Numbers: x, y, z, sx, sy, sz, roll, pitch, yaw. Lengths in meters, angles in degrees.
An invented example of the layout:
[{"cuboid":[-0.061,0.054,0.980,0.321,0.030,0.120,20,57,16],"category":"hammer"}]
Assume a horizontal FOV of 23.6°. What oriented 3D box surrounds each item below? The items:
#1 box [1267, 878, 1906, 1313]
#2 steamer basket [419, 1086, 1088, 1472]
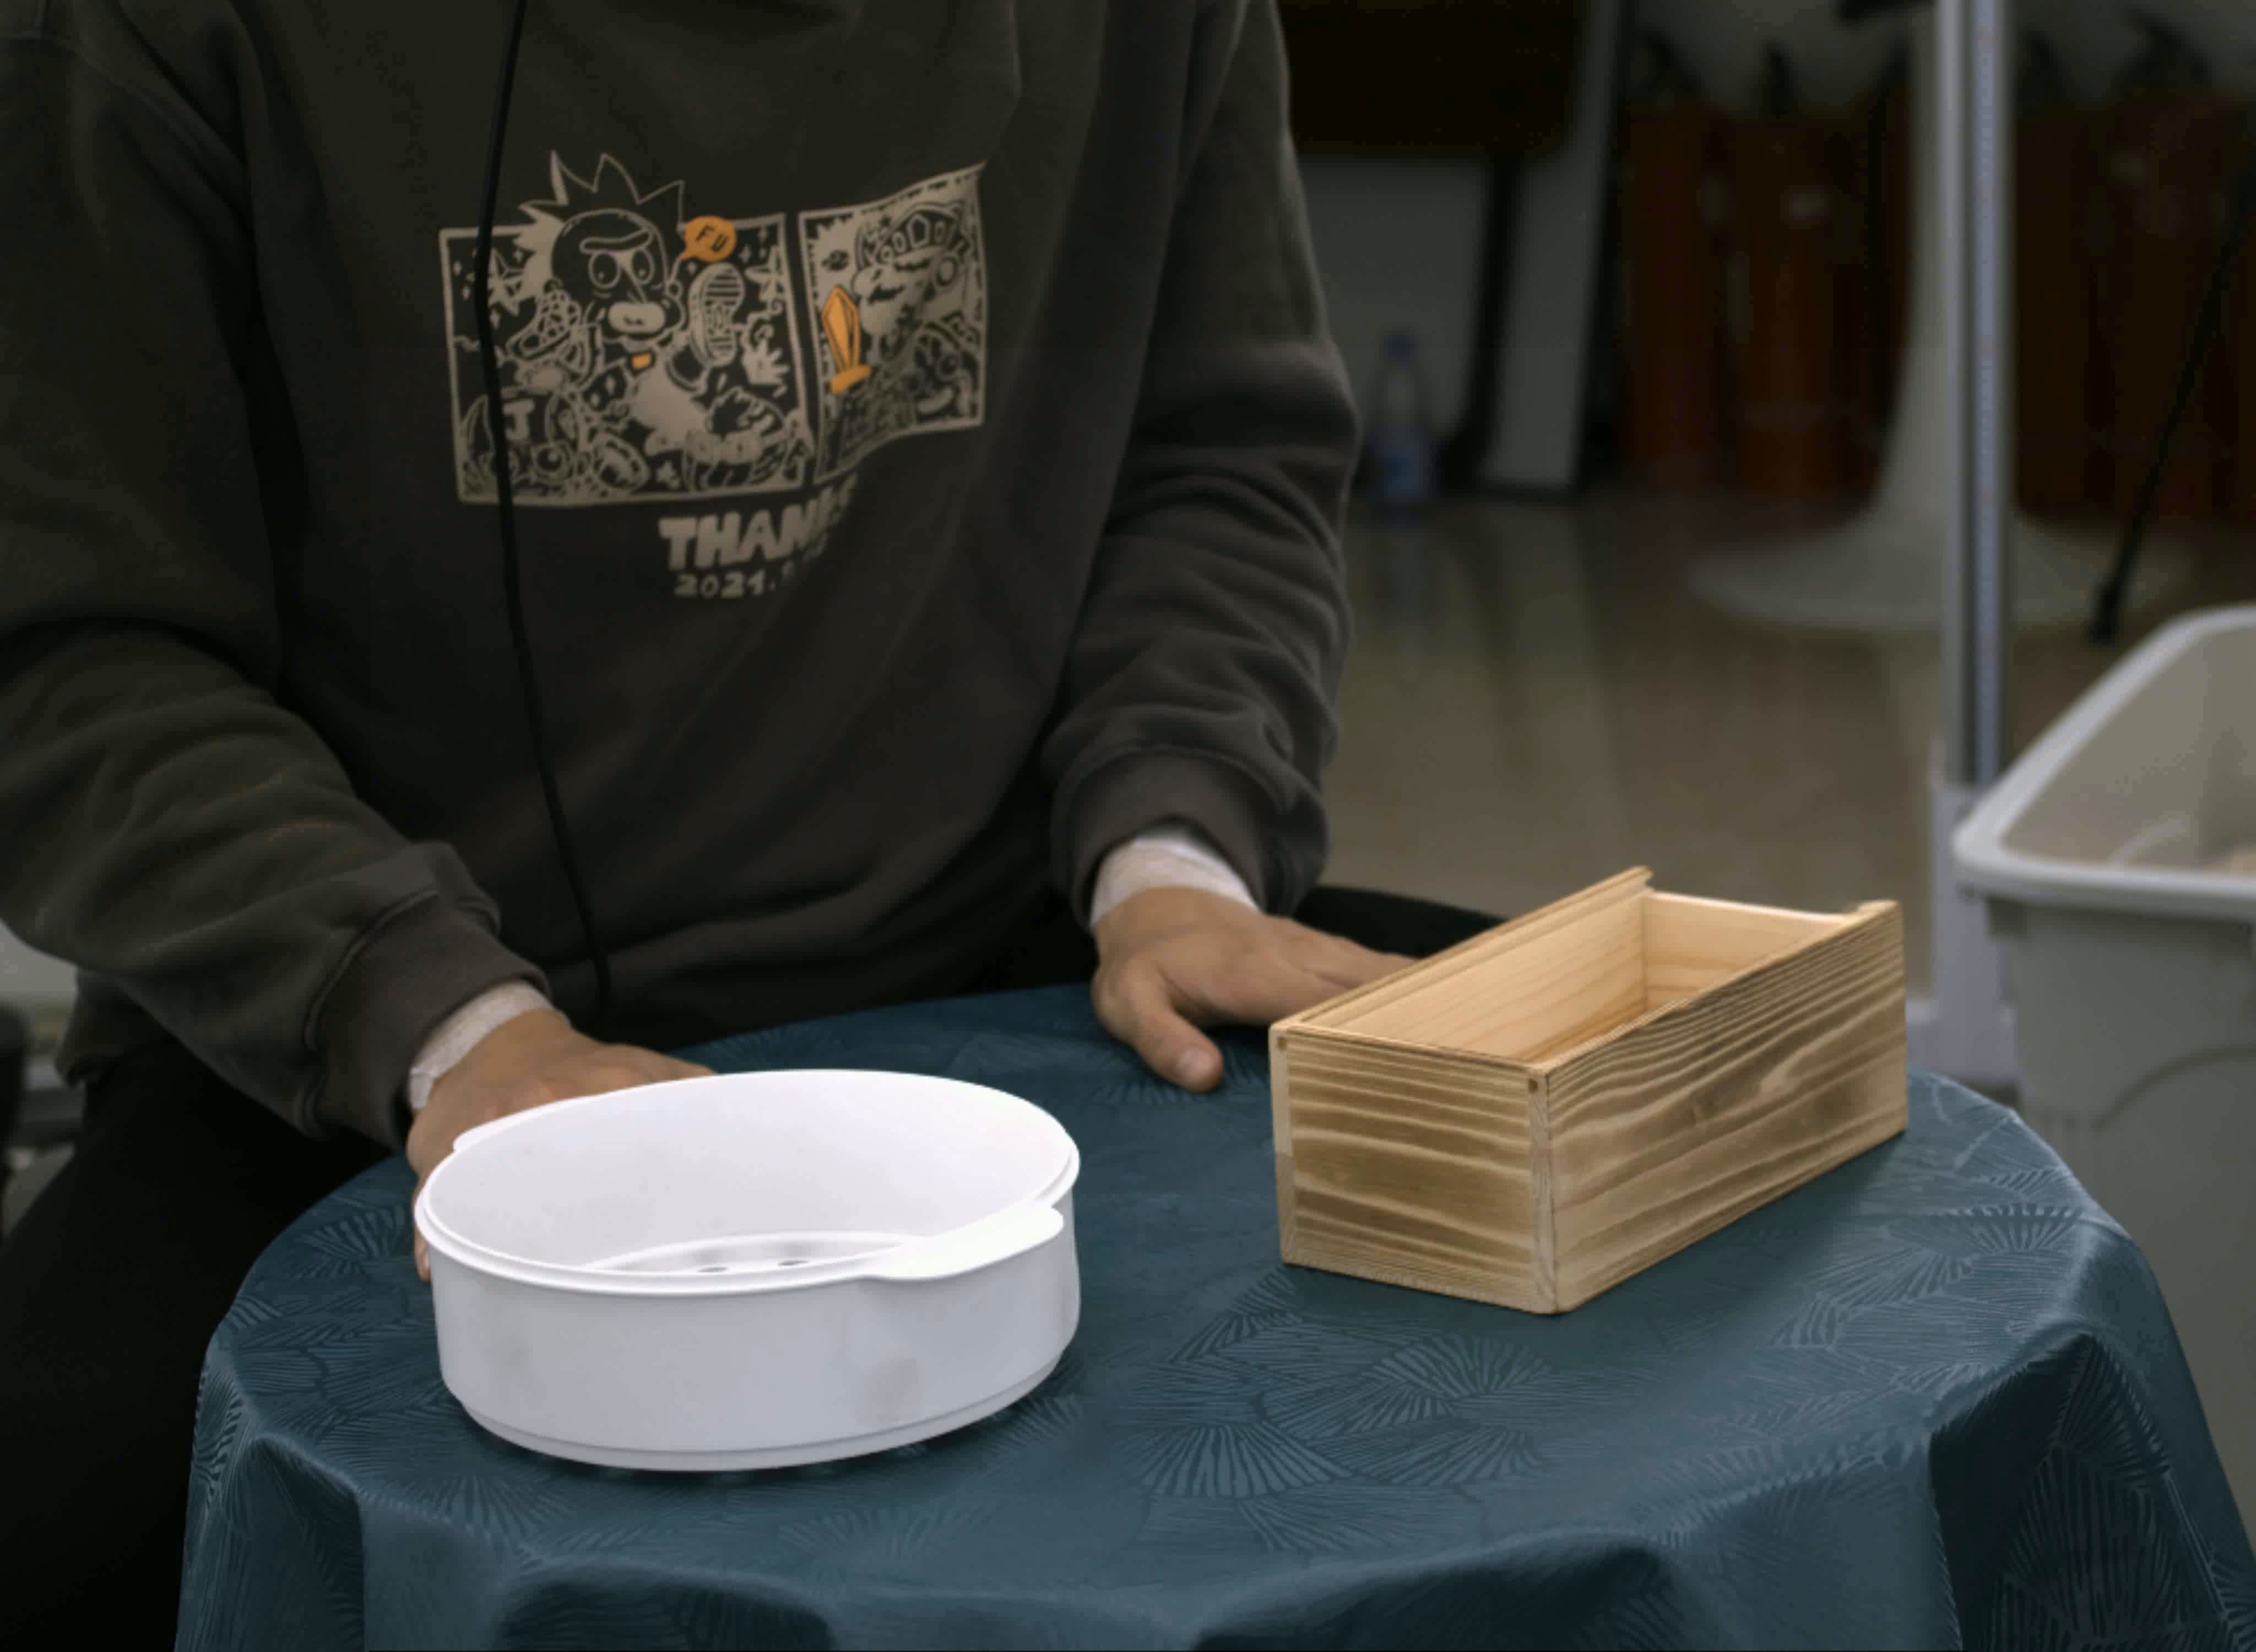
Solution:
[{"cuboid":[0.150,0.082,1.722,0.108,0.081,0.207,6,16,38],"category":"box"},{"cuboid":[-0.109,0.134,1.611,0.197,0.070,0.233,-15,16,-42],"category":"steamer basket"}]
